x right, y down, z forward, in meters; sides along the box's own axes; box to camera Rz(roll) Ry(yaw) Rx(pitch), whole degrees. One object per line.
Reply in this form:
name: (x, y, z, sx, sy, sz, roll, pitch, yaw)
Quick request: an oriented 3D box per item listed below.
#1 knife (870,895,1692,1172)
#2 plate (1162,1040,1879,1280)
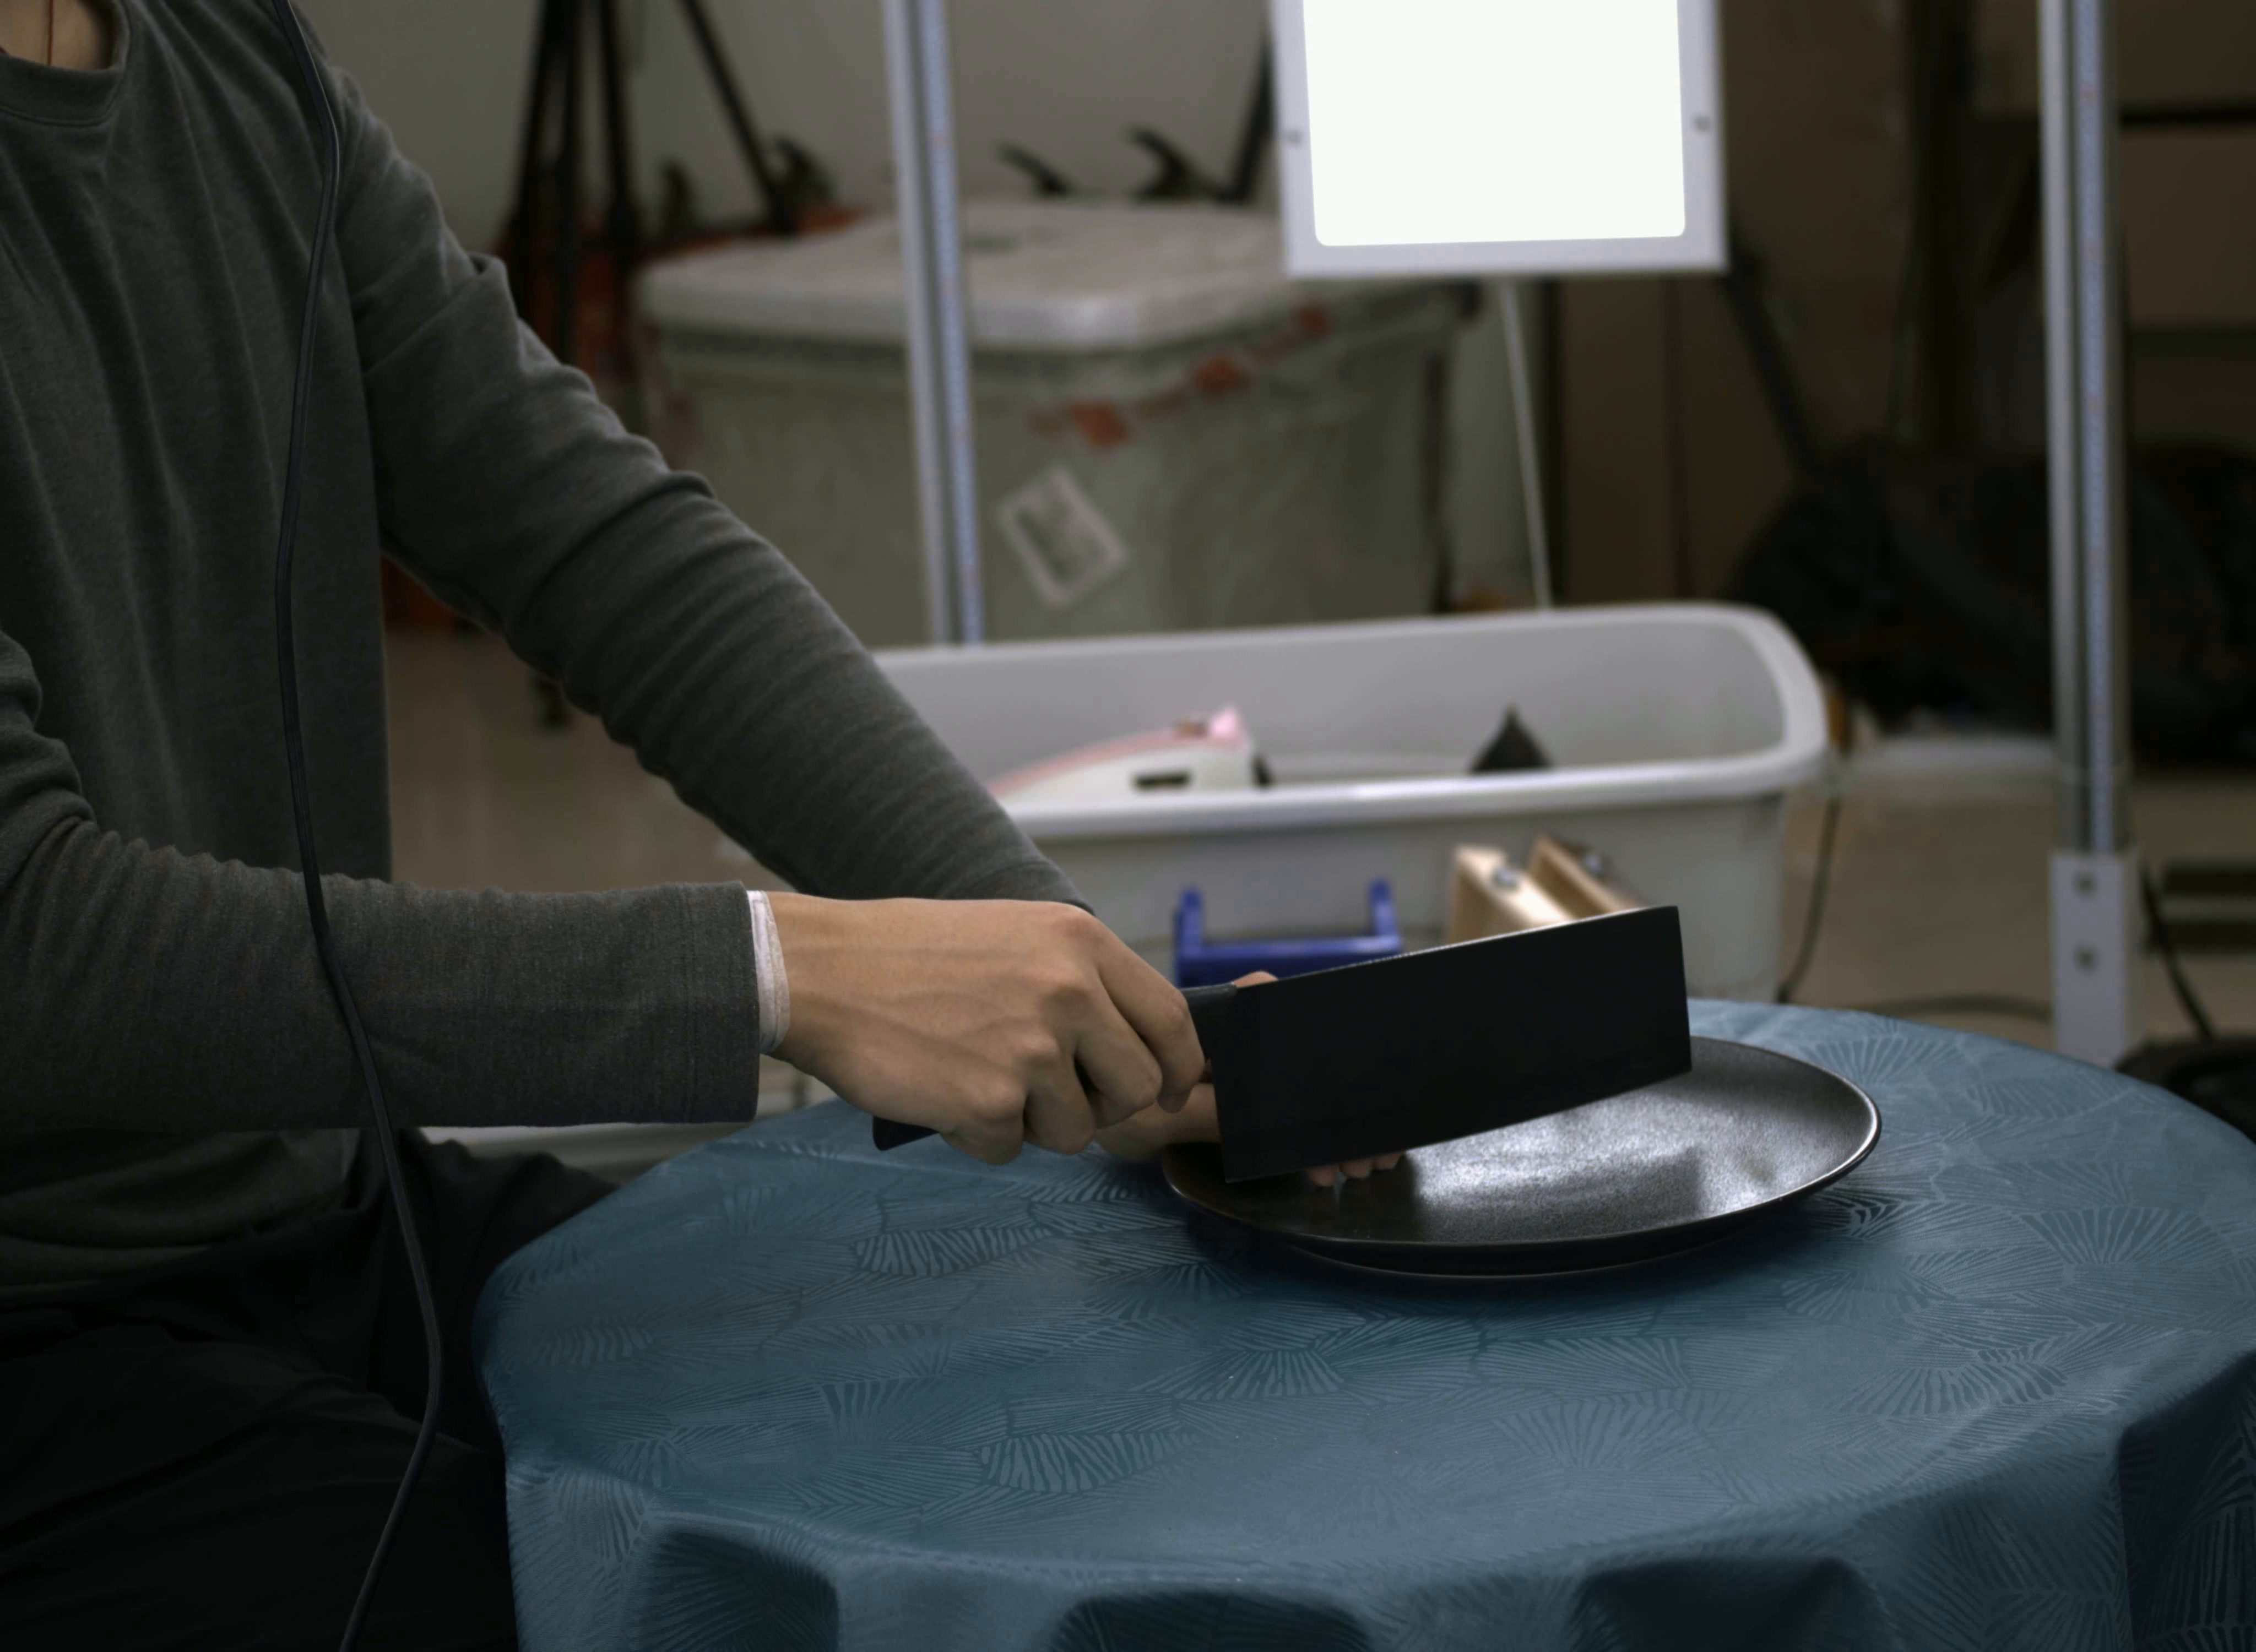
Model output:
knife: (0.056, 0.076, 1.841, 0.297, 0.081, 0.021, -6, 8, -20)
plate: (0.133, 0.114, 1.859, 0.244, 0.023, 0.244, -5, 14, 0)
